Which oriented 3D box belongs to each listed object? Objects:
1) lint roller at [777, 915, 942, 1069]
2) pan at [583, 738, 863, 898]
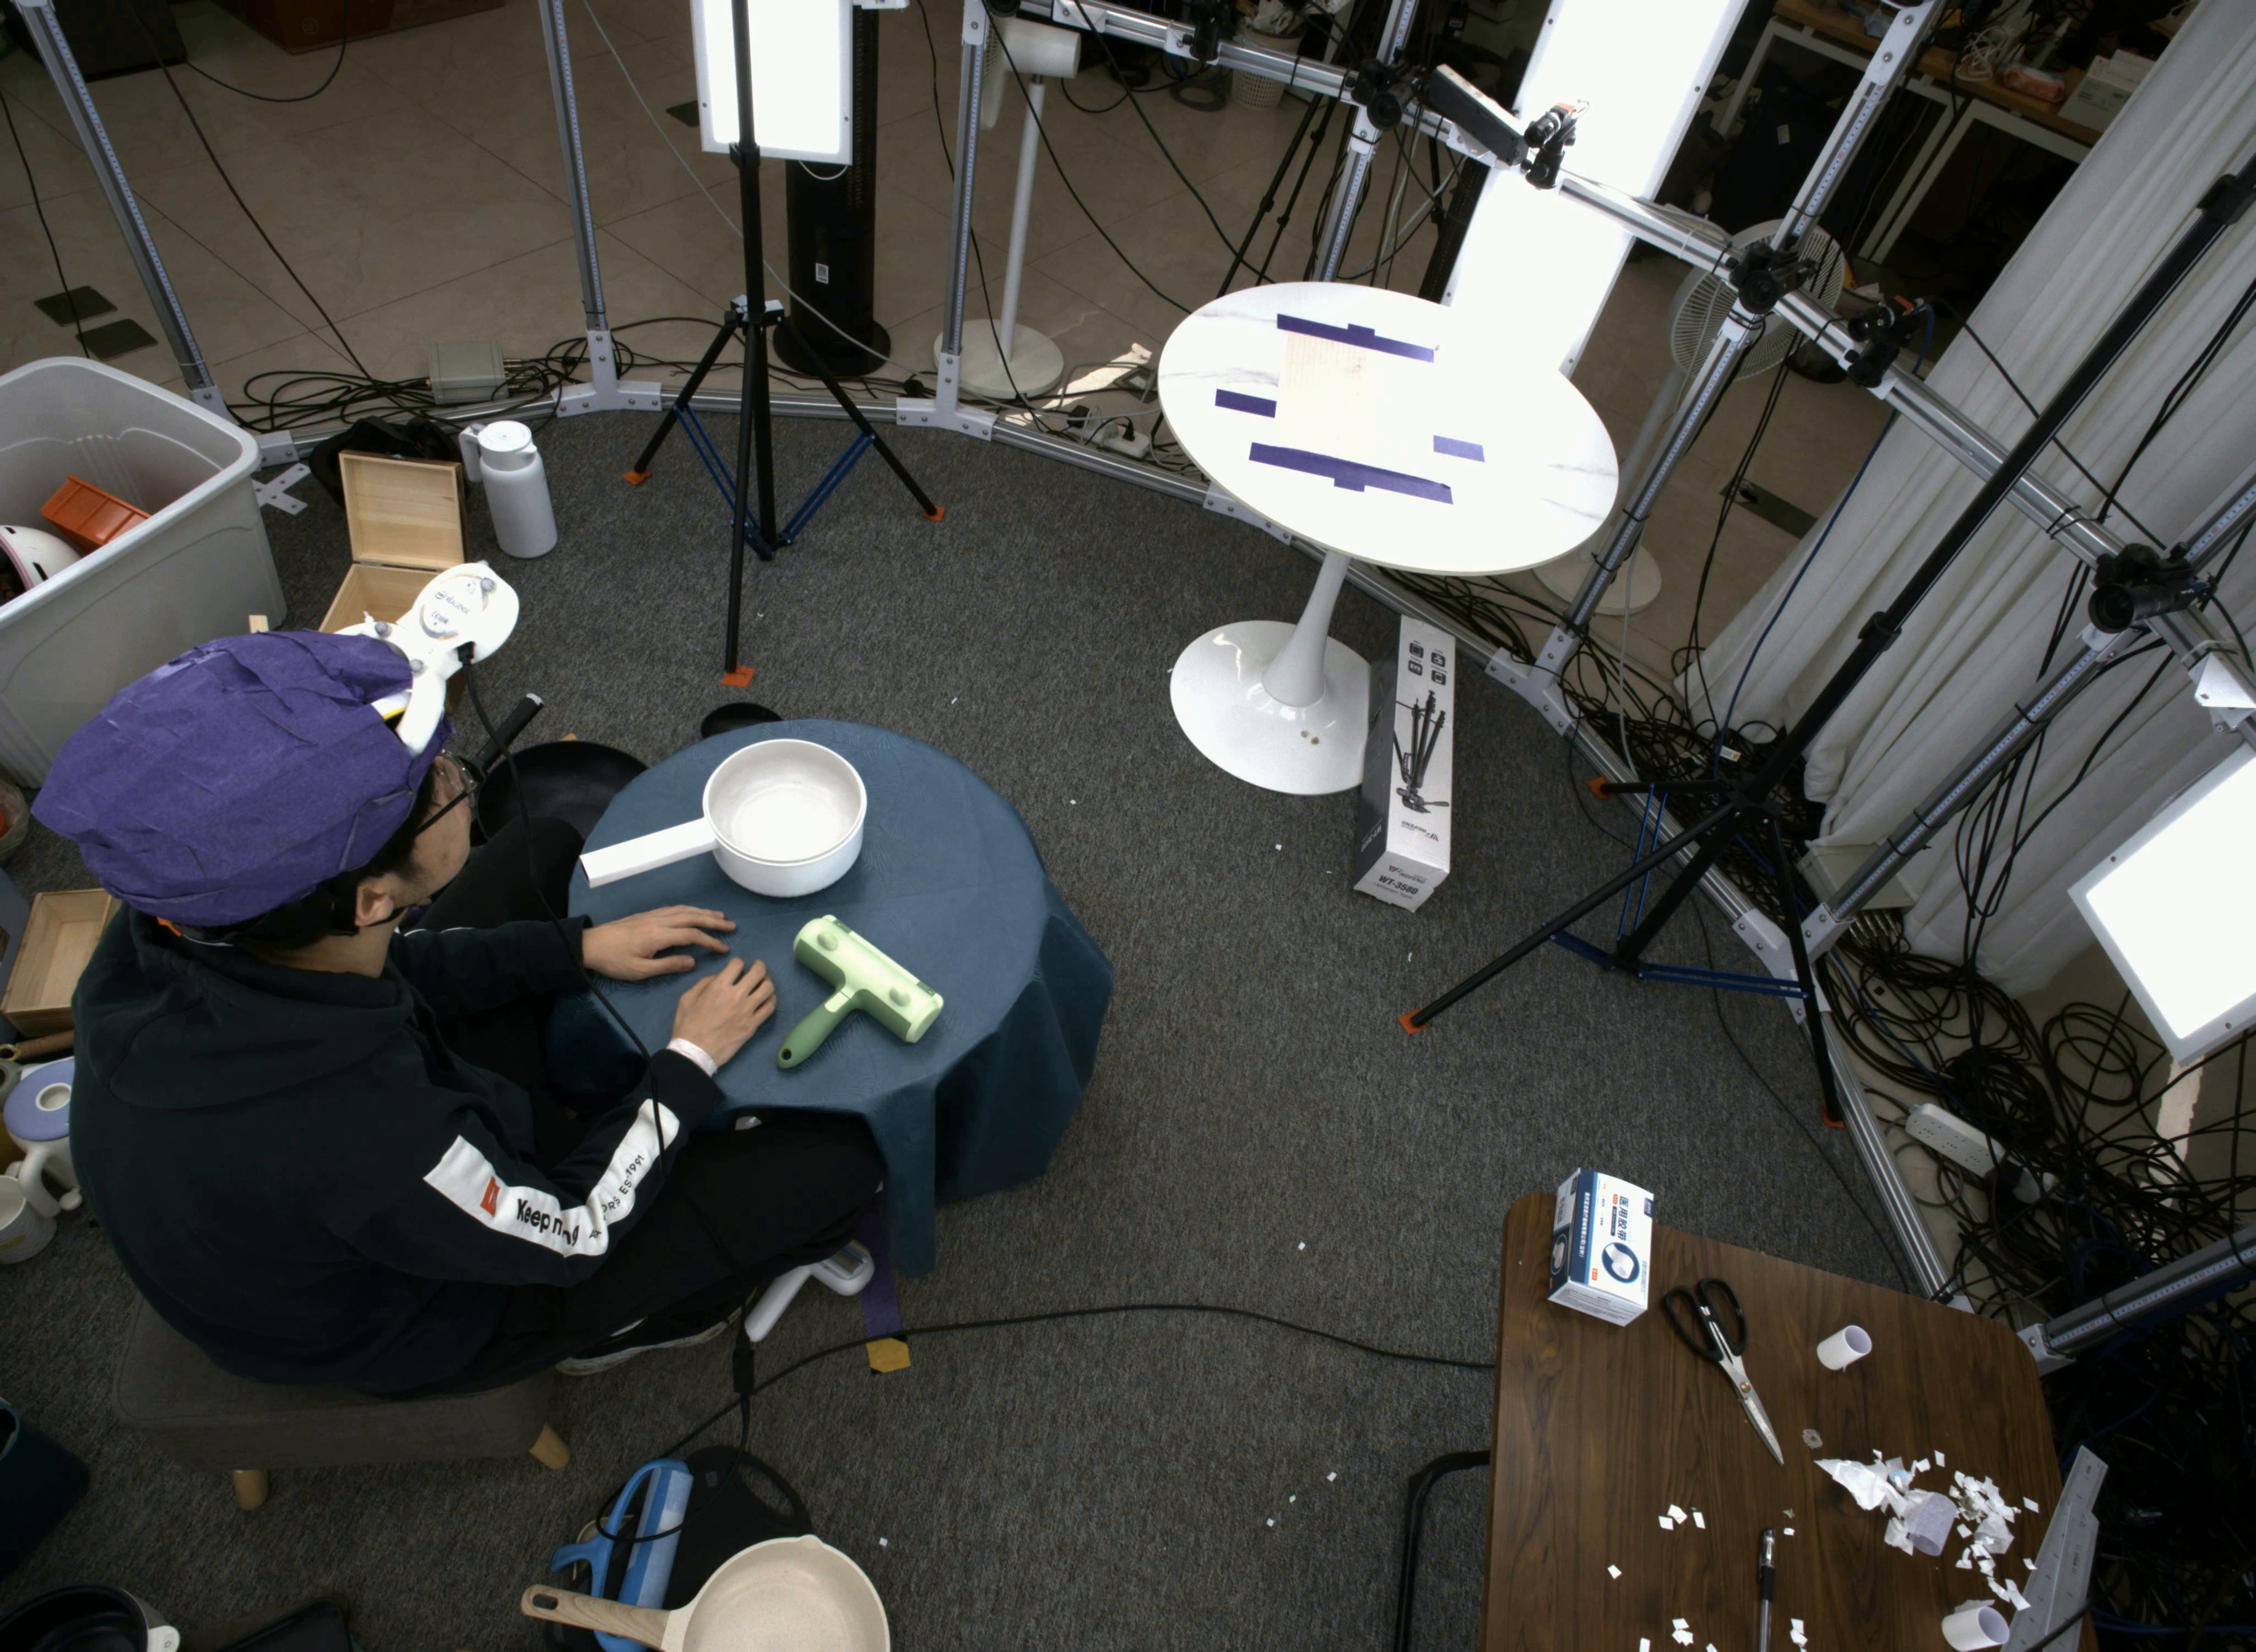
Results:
[{"bbox_3d":[-0.350,0.208,1.547,0.195,0.084,0.183,35,48,12],"label":"lint roller"},{"bbox_3d":[-0.507,0.017,1.631,0.356,0.104,0.196,-20,61,-26],"label":"pan"}]
